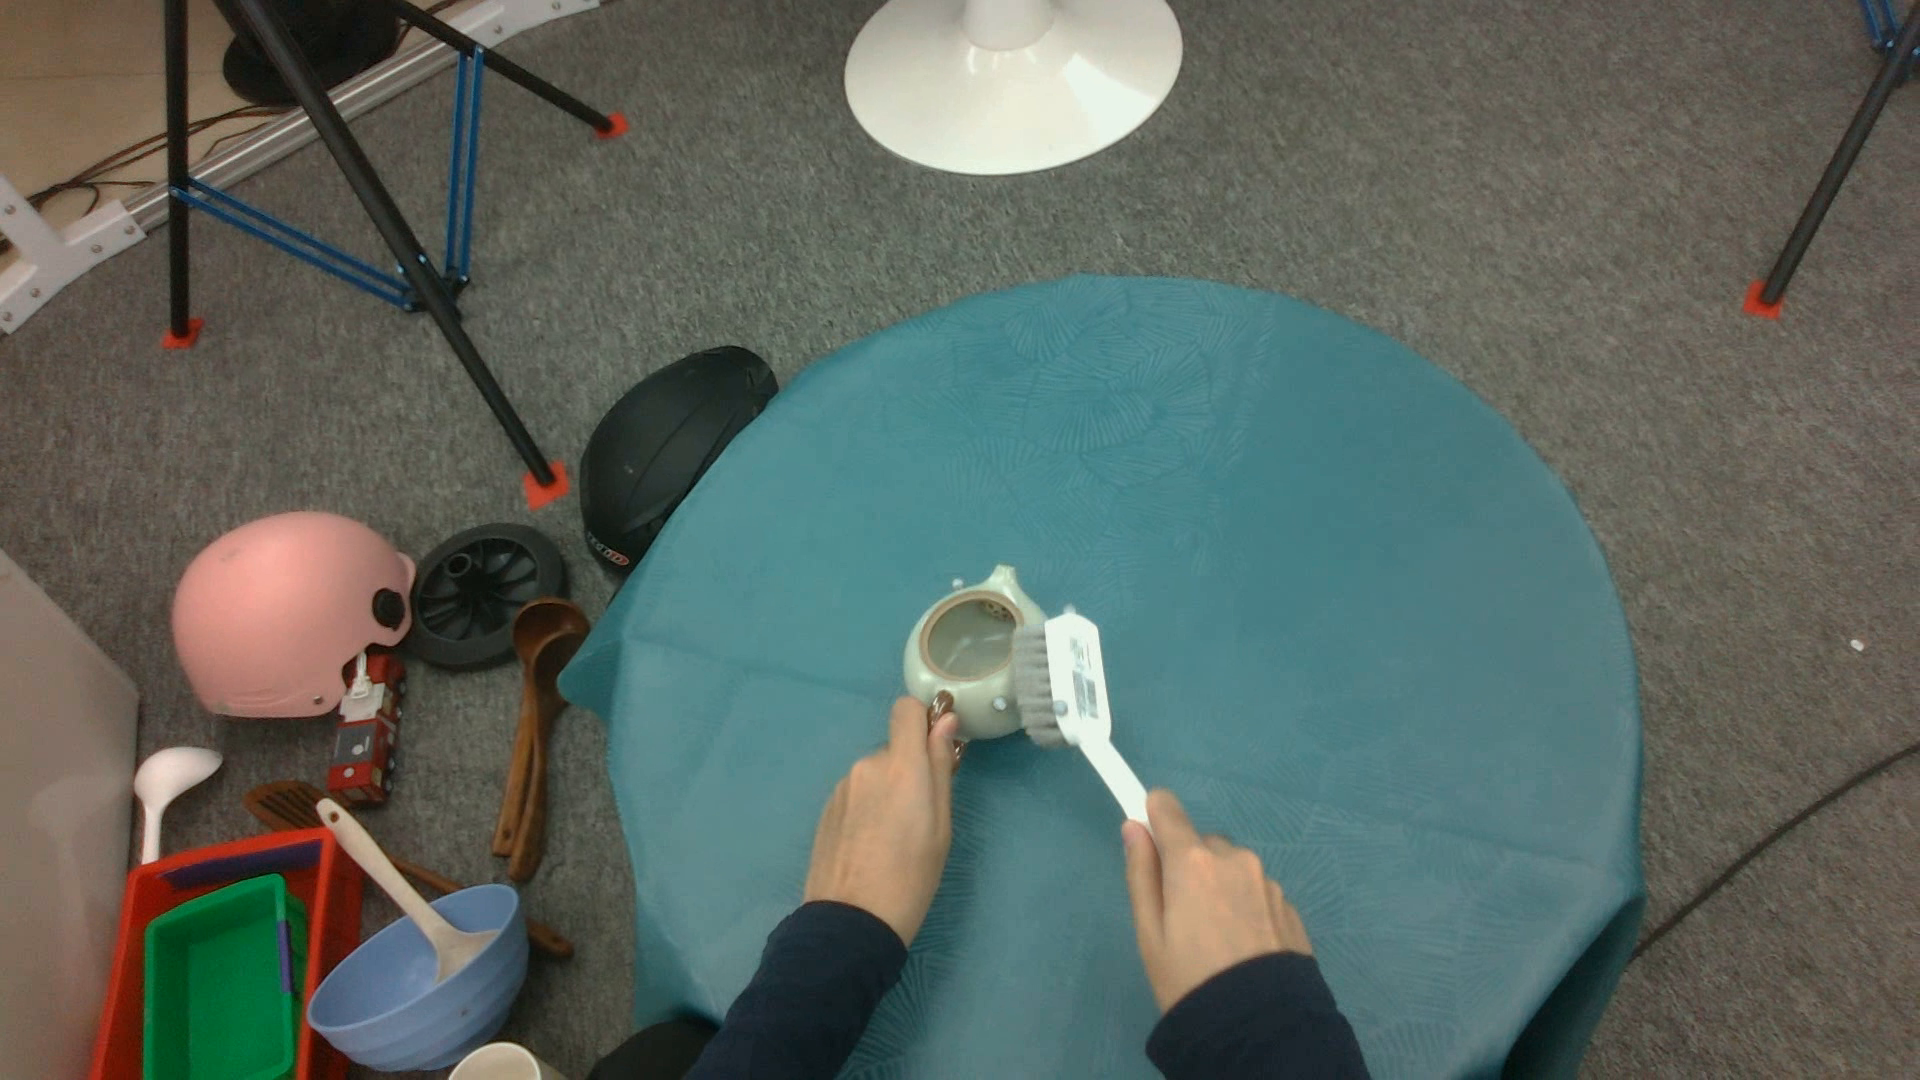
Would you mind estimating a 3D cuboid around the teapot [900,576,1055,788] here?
[{"bbox_3d":[0.007,0.084,0.794,0.092,0.059,0.128,11,54,22],"label":"teapot"}]

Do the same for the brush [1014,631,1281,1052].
[{"bbox_3d":[0.084,0.147,0.691,0.050,0.034,0.244,-40,53,22],"label":"brush"}]
